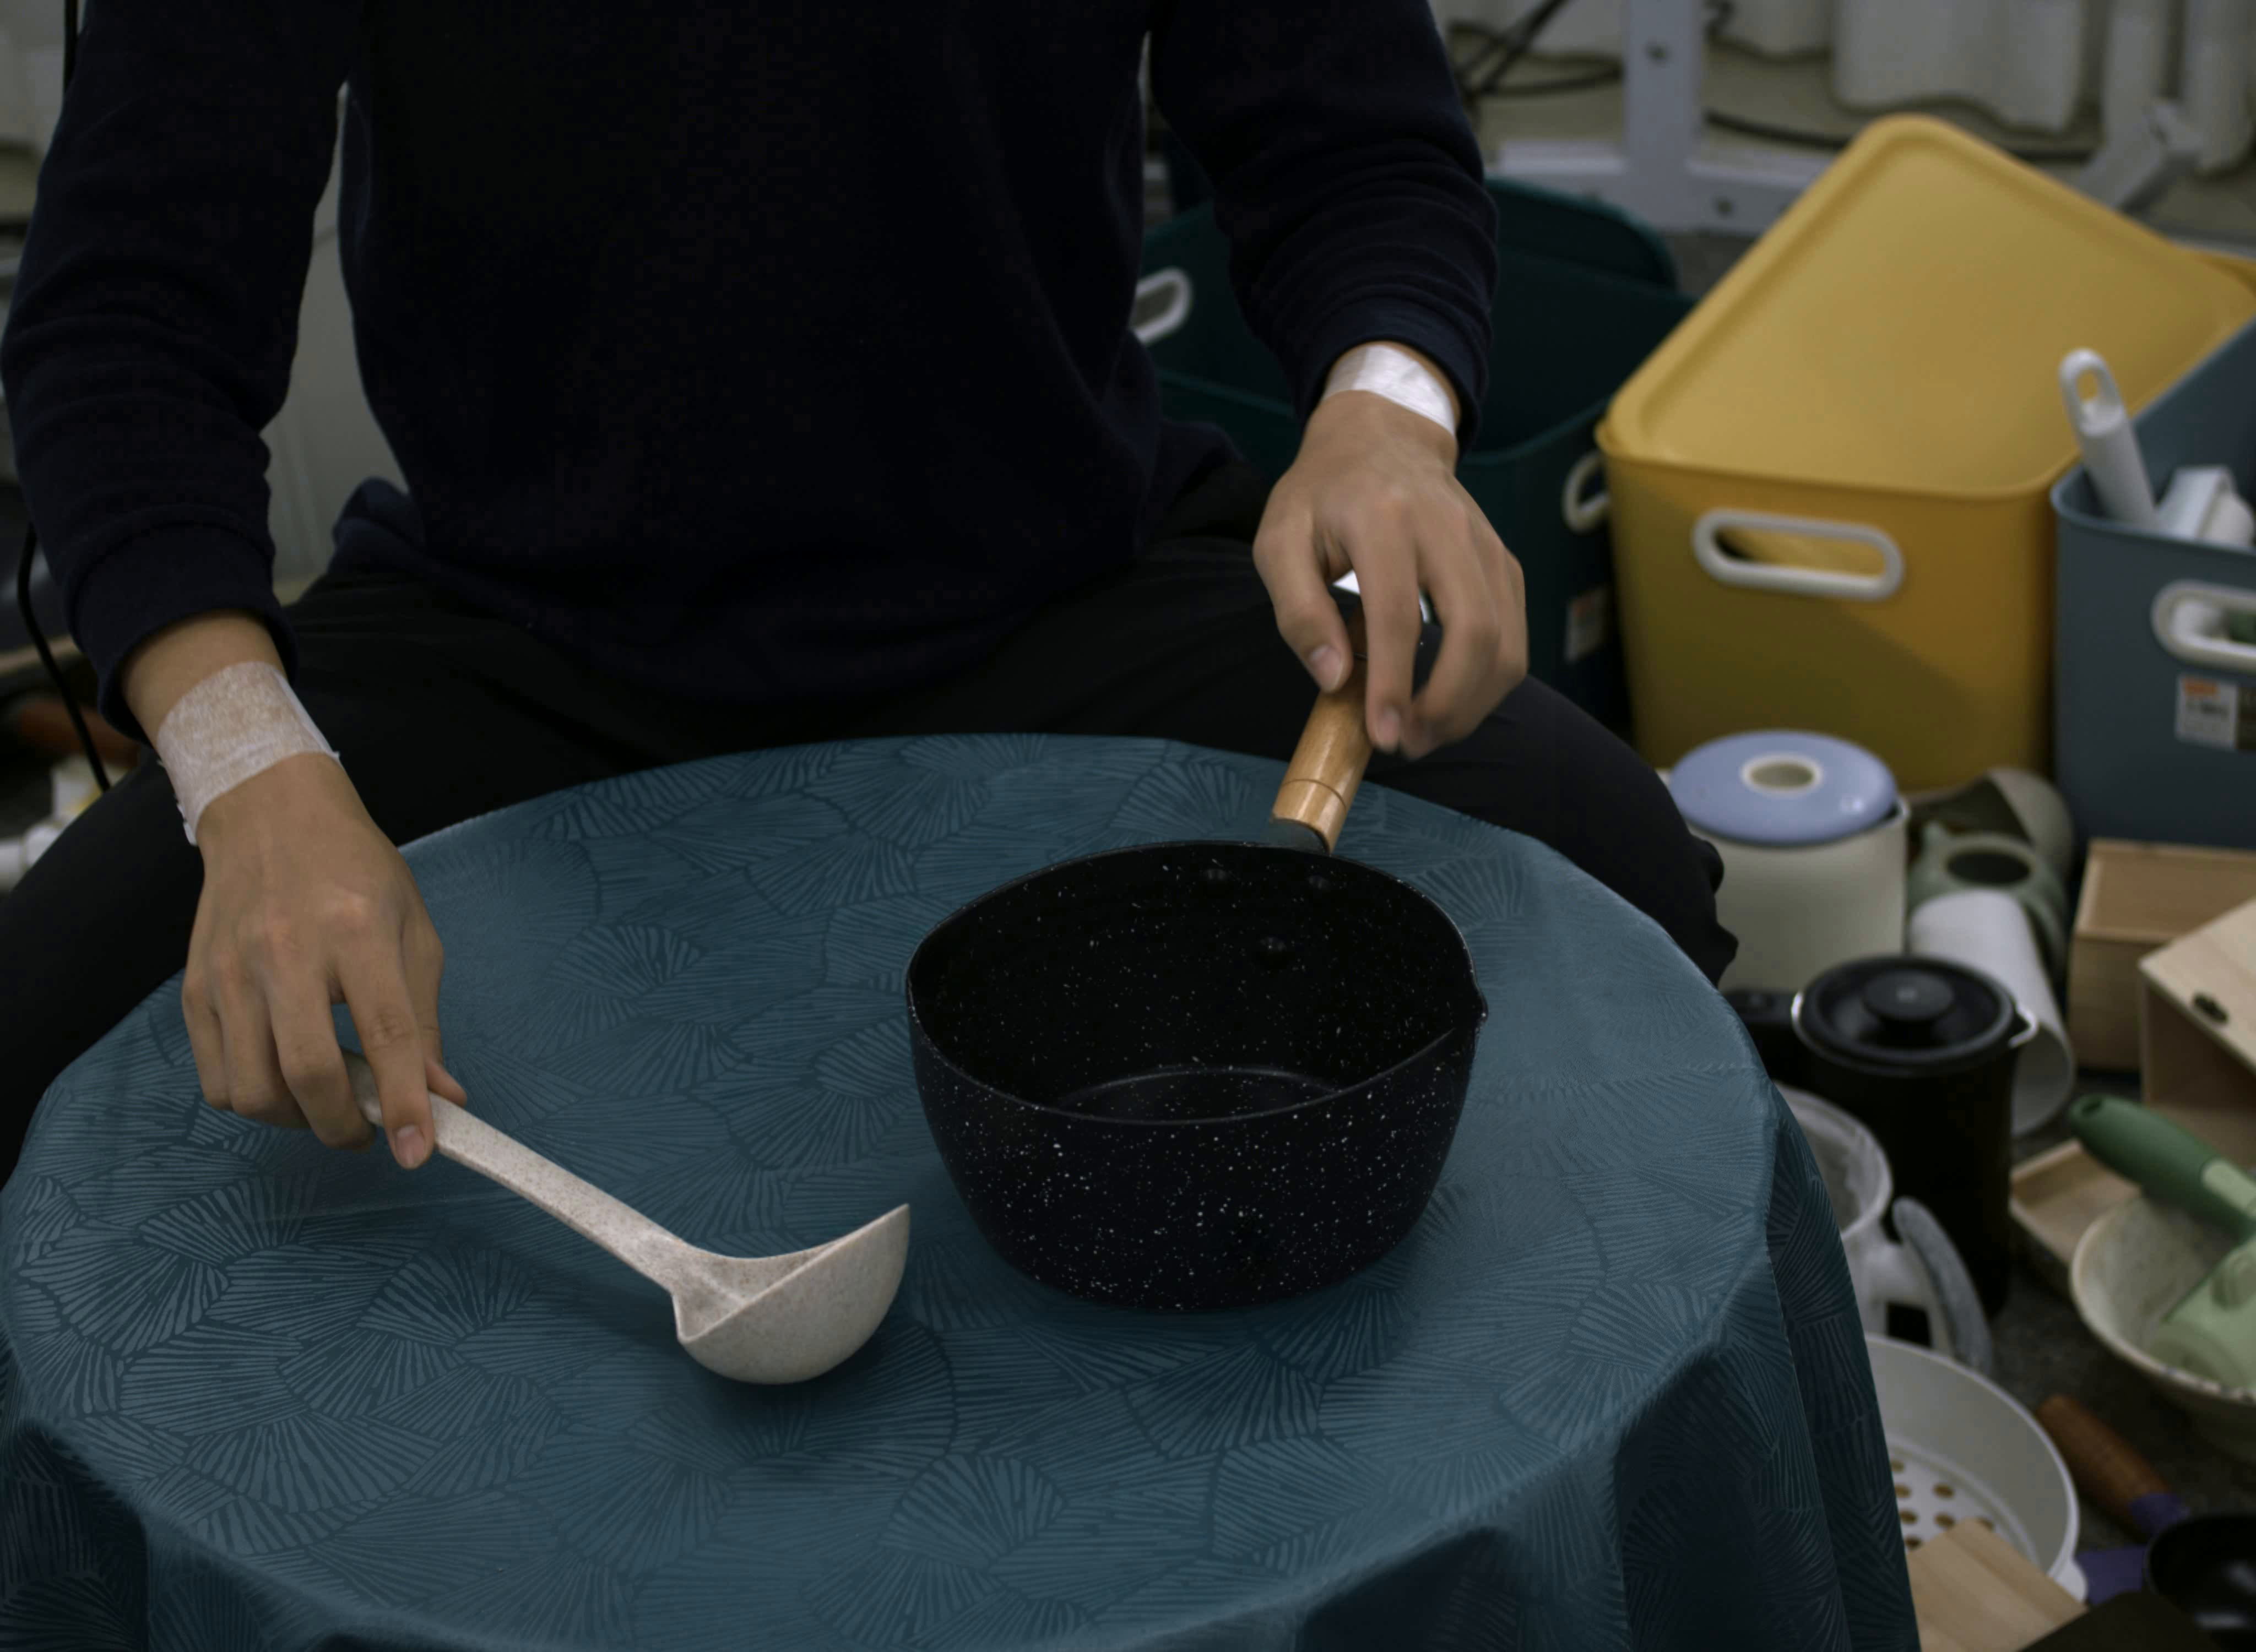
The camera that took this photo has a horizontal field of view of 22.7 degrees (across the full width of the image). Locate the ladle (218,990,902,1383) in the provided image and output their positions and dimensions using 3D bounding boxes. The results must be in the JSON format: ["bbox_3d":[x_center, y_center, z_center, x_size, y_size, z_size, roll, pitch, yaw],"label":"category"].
[{"bbox_3d":[-0.191,0.094,1.806,0.275,0.068,0.090,30,40,26],"label":"ladle"}]

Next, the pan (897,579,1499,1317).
[{"bbox_3d":[0.044,0.038,1.903,0.206,0.107,0.349,4,30,16],"label":"pan"}]
